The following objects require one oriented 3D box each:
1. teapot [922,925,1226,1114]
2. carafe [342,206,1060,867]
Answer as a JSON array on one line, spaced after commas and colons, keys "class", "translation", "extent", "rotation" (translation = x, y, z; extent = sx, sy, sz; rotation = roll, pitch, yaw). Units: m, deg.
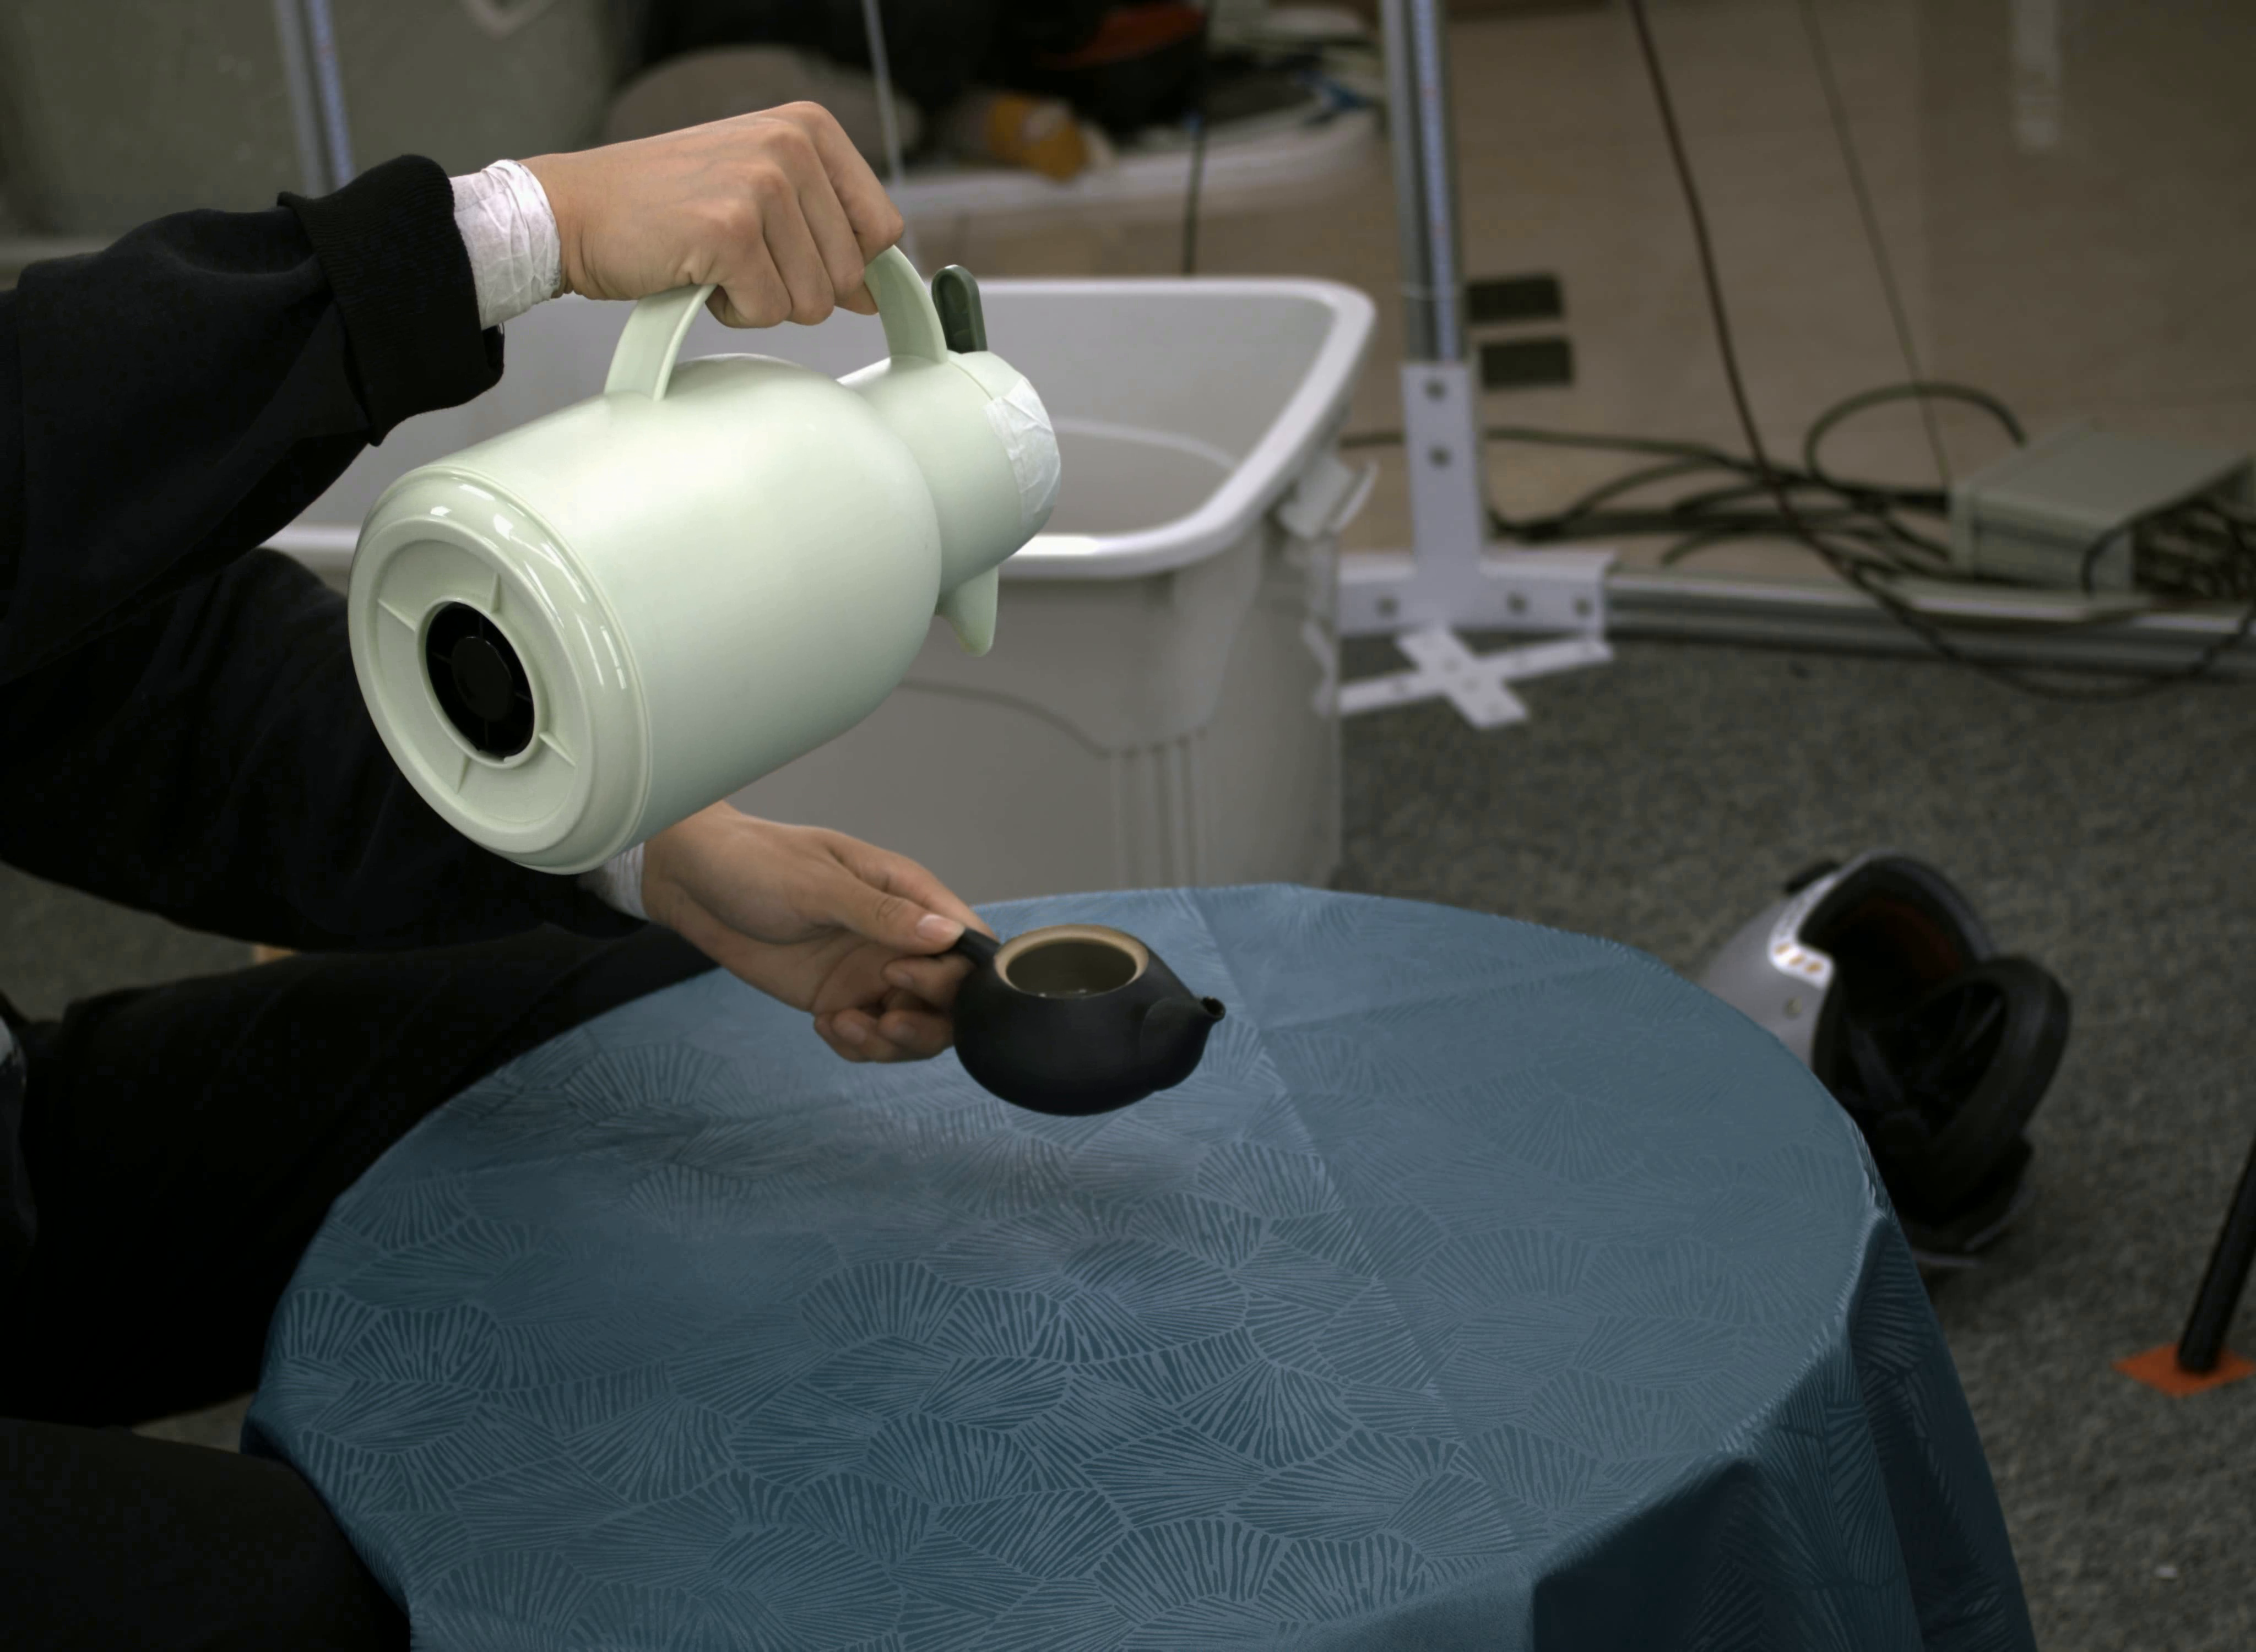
[{"class": "teapot", "translation": [-0.021, 0.073, 2.127], "extent": [0.132, 0.054, 0.090], "rotation": [16, 31, 28]}, {"class": "carafe", "translation": [-0.138, -0.108, 1.942], "extent": [0.143, 0.190, 0.254], "rotation": [14, 35, 43]}]
